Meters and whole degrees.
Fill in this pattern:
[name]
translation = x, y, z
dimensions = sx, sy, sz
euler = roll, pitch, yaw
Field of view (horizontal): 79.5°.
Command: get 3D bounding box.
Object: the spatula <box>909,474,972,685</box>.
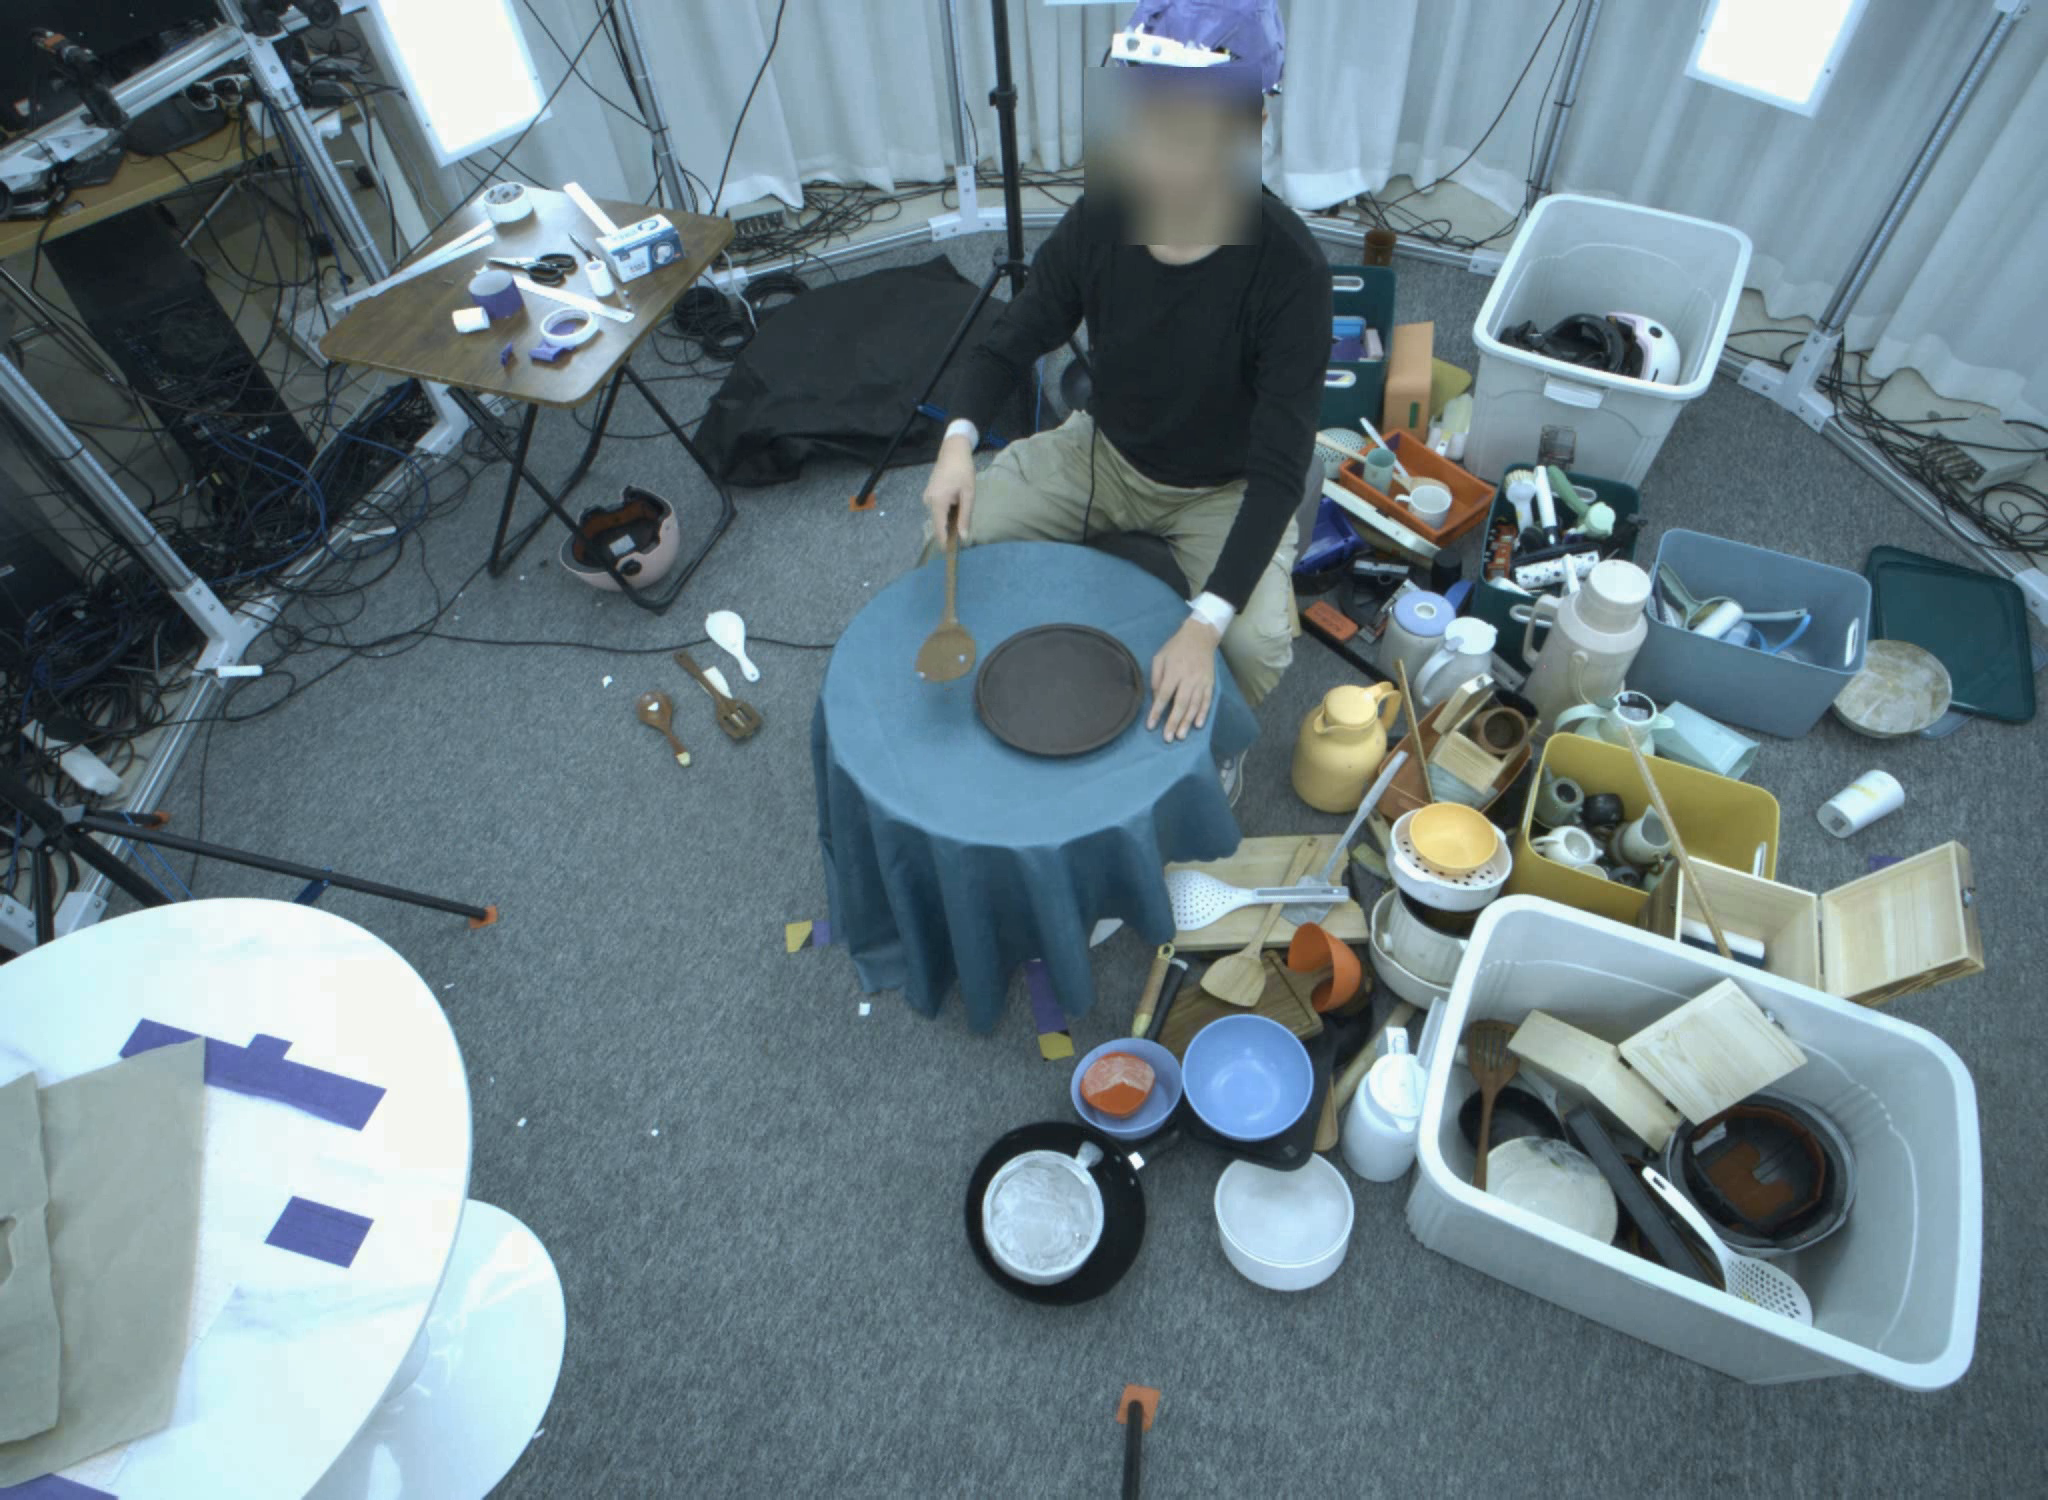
[spatula]
translation = -0.116, -0.267, 1.847
dimensions = 0.095, 0.016, 0.383
euler = -6, 64, 16

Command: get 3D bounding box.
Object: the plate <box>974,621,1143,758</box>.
[plate]
translation = 0.052, -0.091, 1.837
dimensions = 0.254, 0.029, 0.252
euler = -1, 55, 3
